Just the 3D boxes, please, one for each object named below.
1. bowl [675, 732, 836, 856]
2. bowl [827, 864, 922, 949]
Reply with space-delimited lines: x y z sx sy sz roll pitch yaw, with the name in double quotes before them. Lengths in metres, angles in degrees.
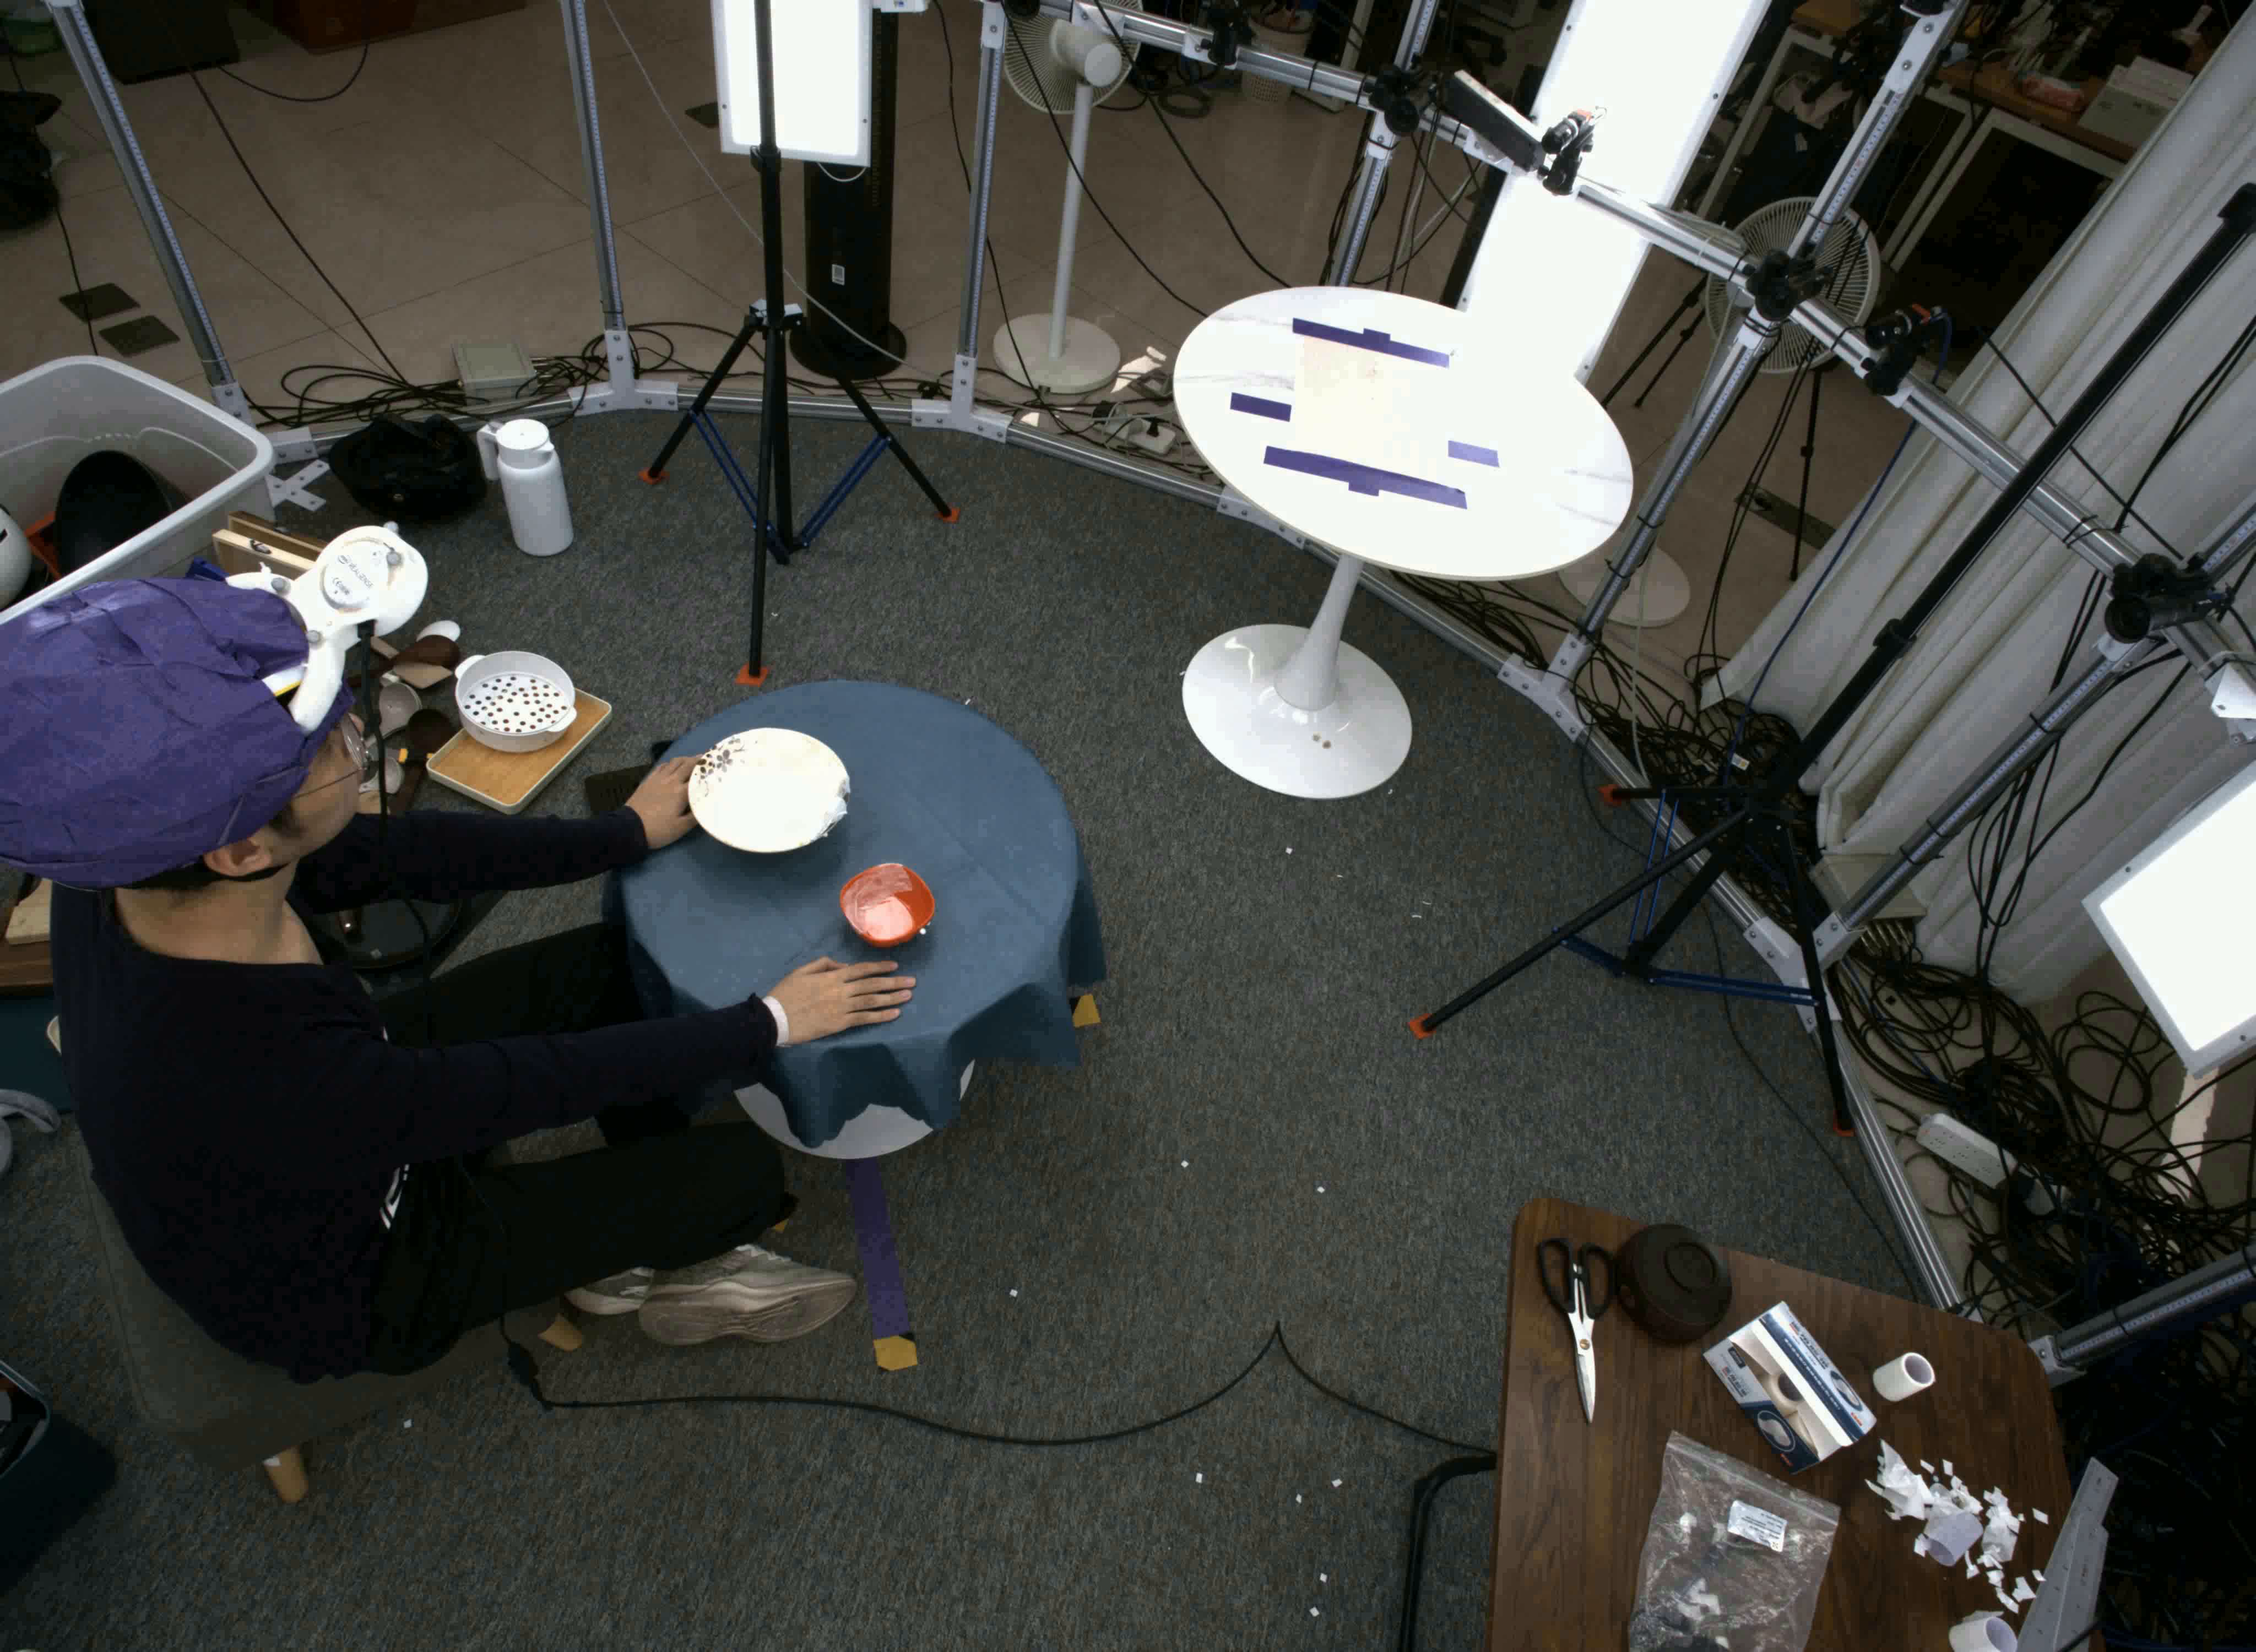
"bowl" -0.483 -0.023 1.689 0.203 0.079 0.200 7 53 -7
"bowl" -0.322 0.109 1.647 0.119 0.052 0.117 8 53 -9
